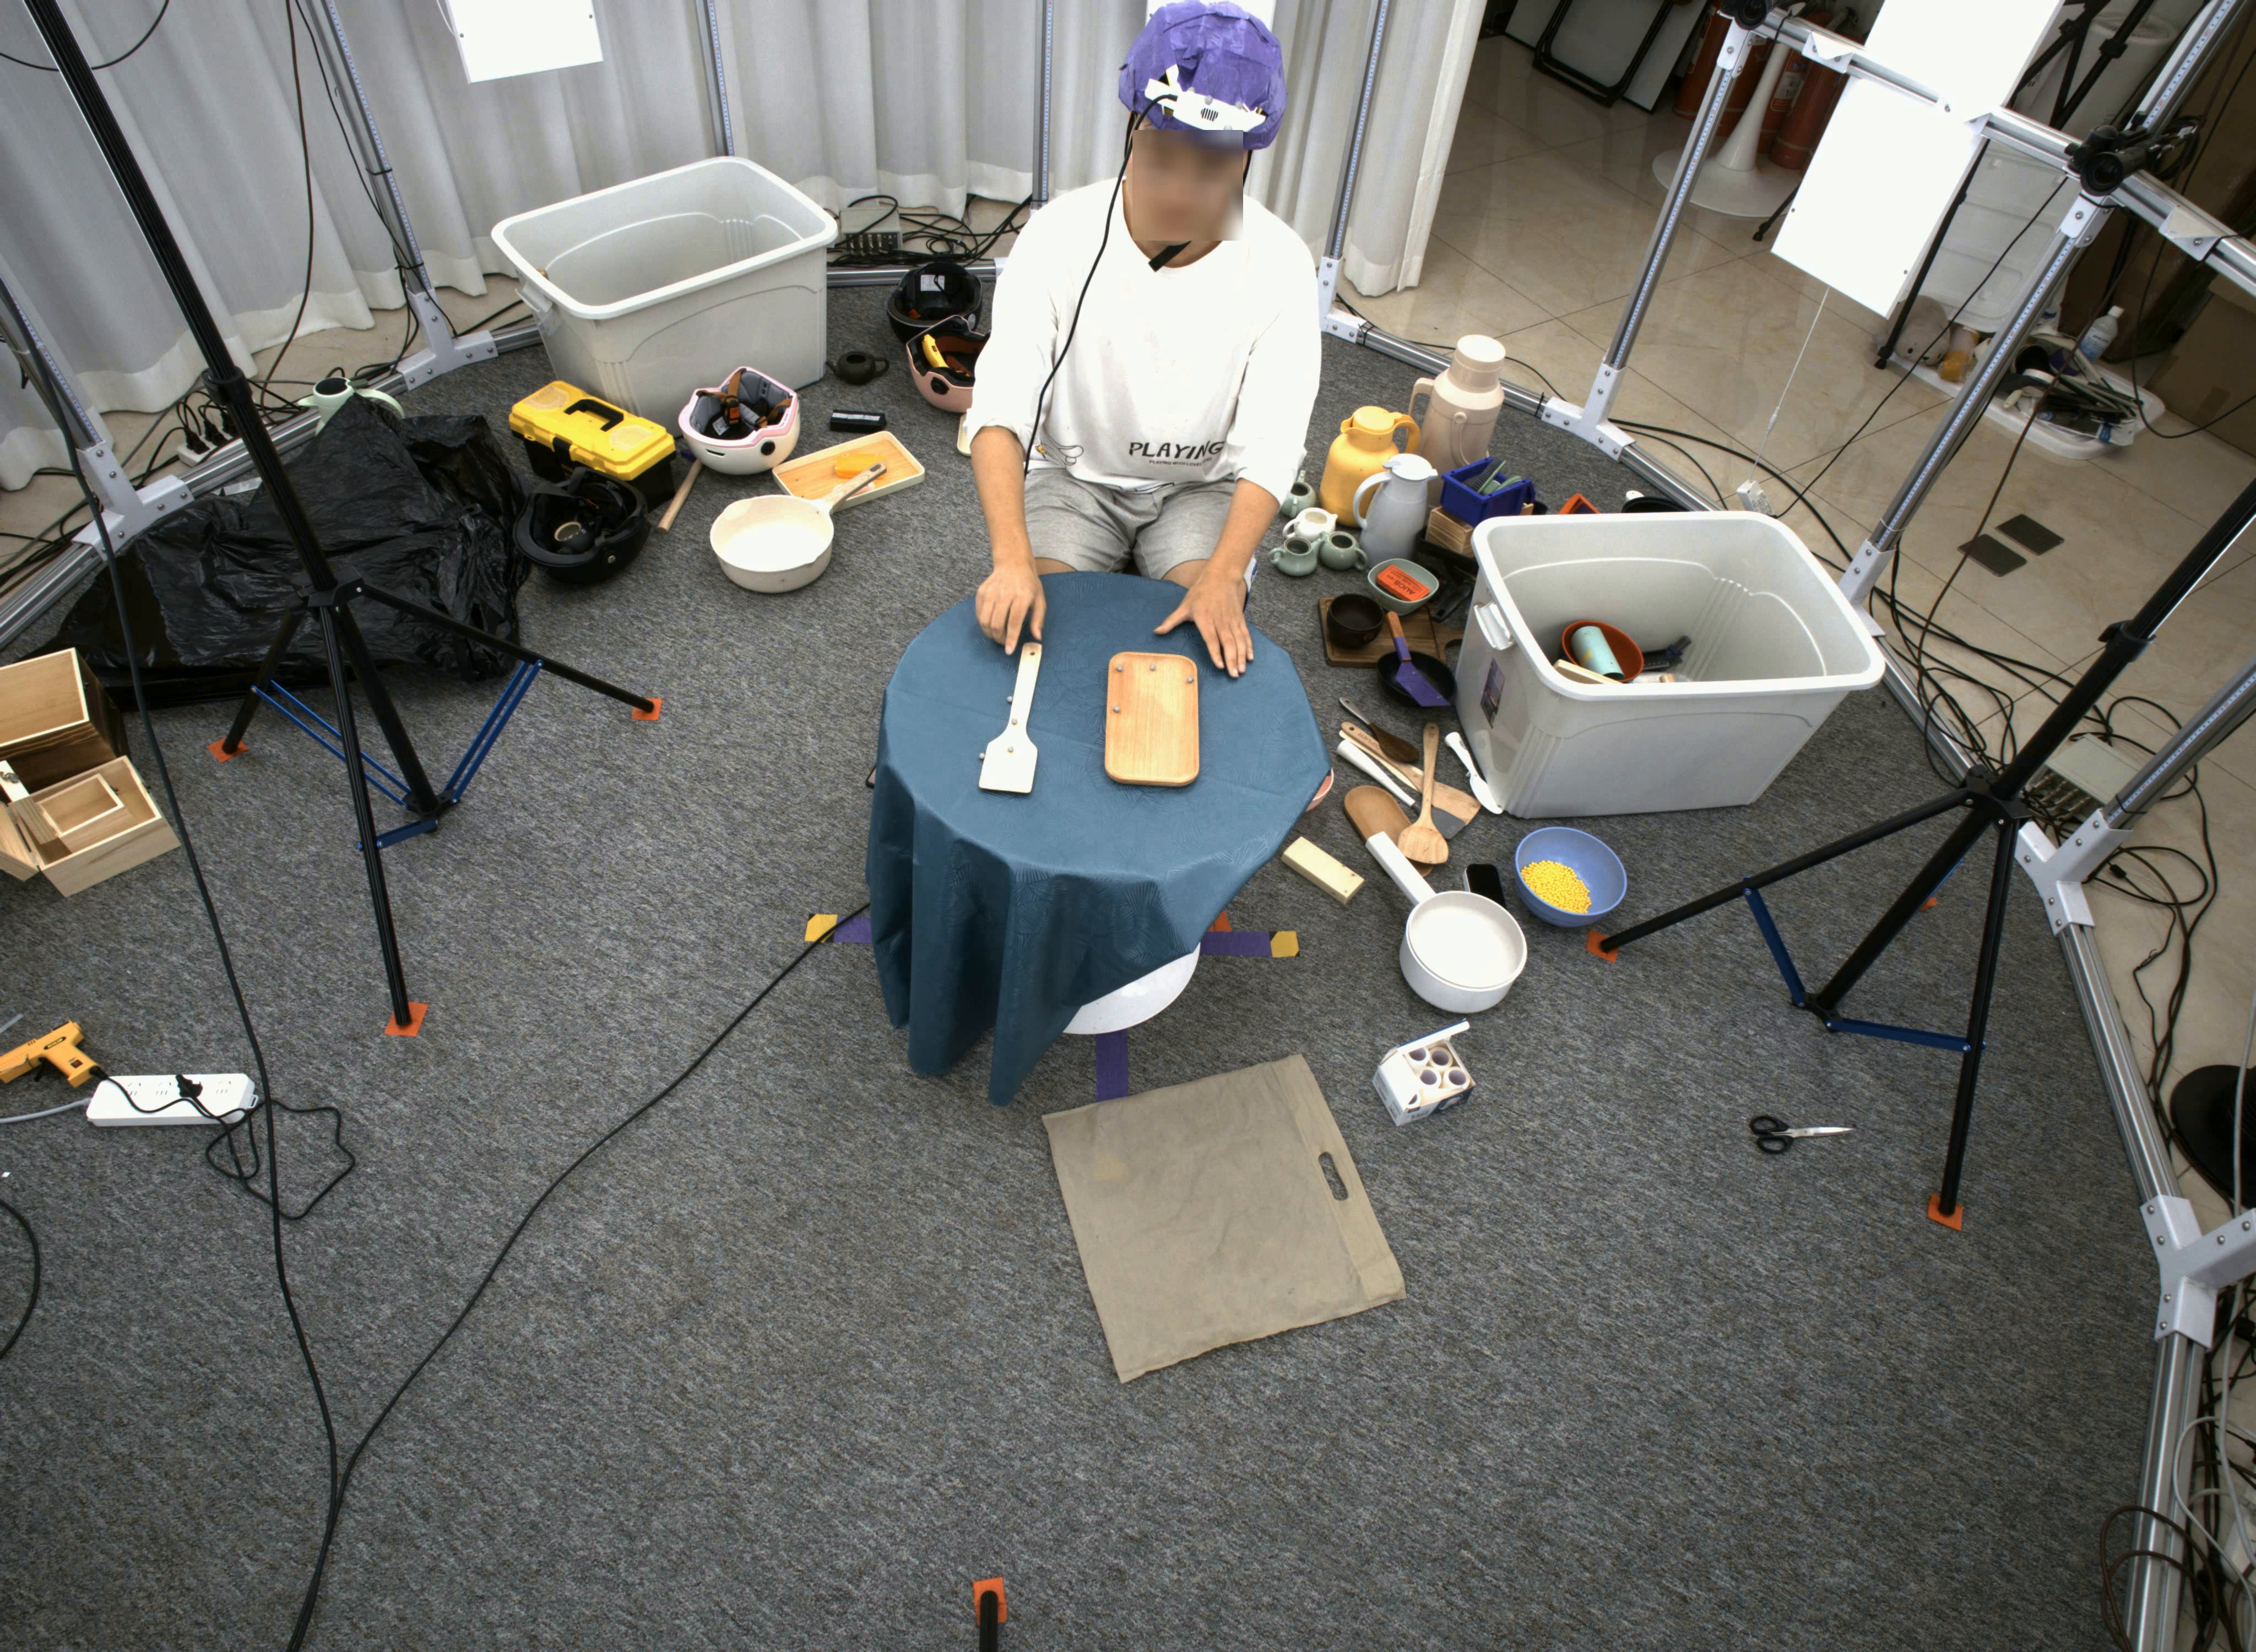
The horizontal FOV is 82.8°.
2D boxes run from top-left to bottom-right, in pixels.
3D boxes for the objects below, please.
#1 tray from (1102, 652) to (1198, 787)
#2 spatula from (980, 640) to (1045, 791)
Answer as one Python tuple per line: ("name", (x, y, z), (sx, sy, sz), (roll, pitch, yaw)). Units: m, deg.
("tray", (0.033, -0.151, 1.788), (0.130, 0.022, 0.257), (3, 49, 1))
("spatula", (-0.149, -0.159, 1.785), (0.072, 0.010, 0.300), (5, 49, 2))
